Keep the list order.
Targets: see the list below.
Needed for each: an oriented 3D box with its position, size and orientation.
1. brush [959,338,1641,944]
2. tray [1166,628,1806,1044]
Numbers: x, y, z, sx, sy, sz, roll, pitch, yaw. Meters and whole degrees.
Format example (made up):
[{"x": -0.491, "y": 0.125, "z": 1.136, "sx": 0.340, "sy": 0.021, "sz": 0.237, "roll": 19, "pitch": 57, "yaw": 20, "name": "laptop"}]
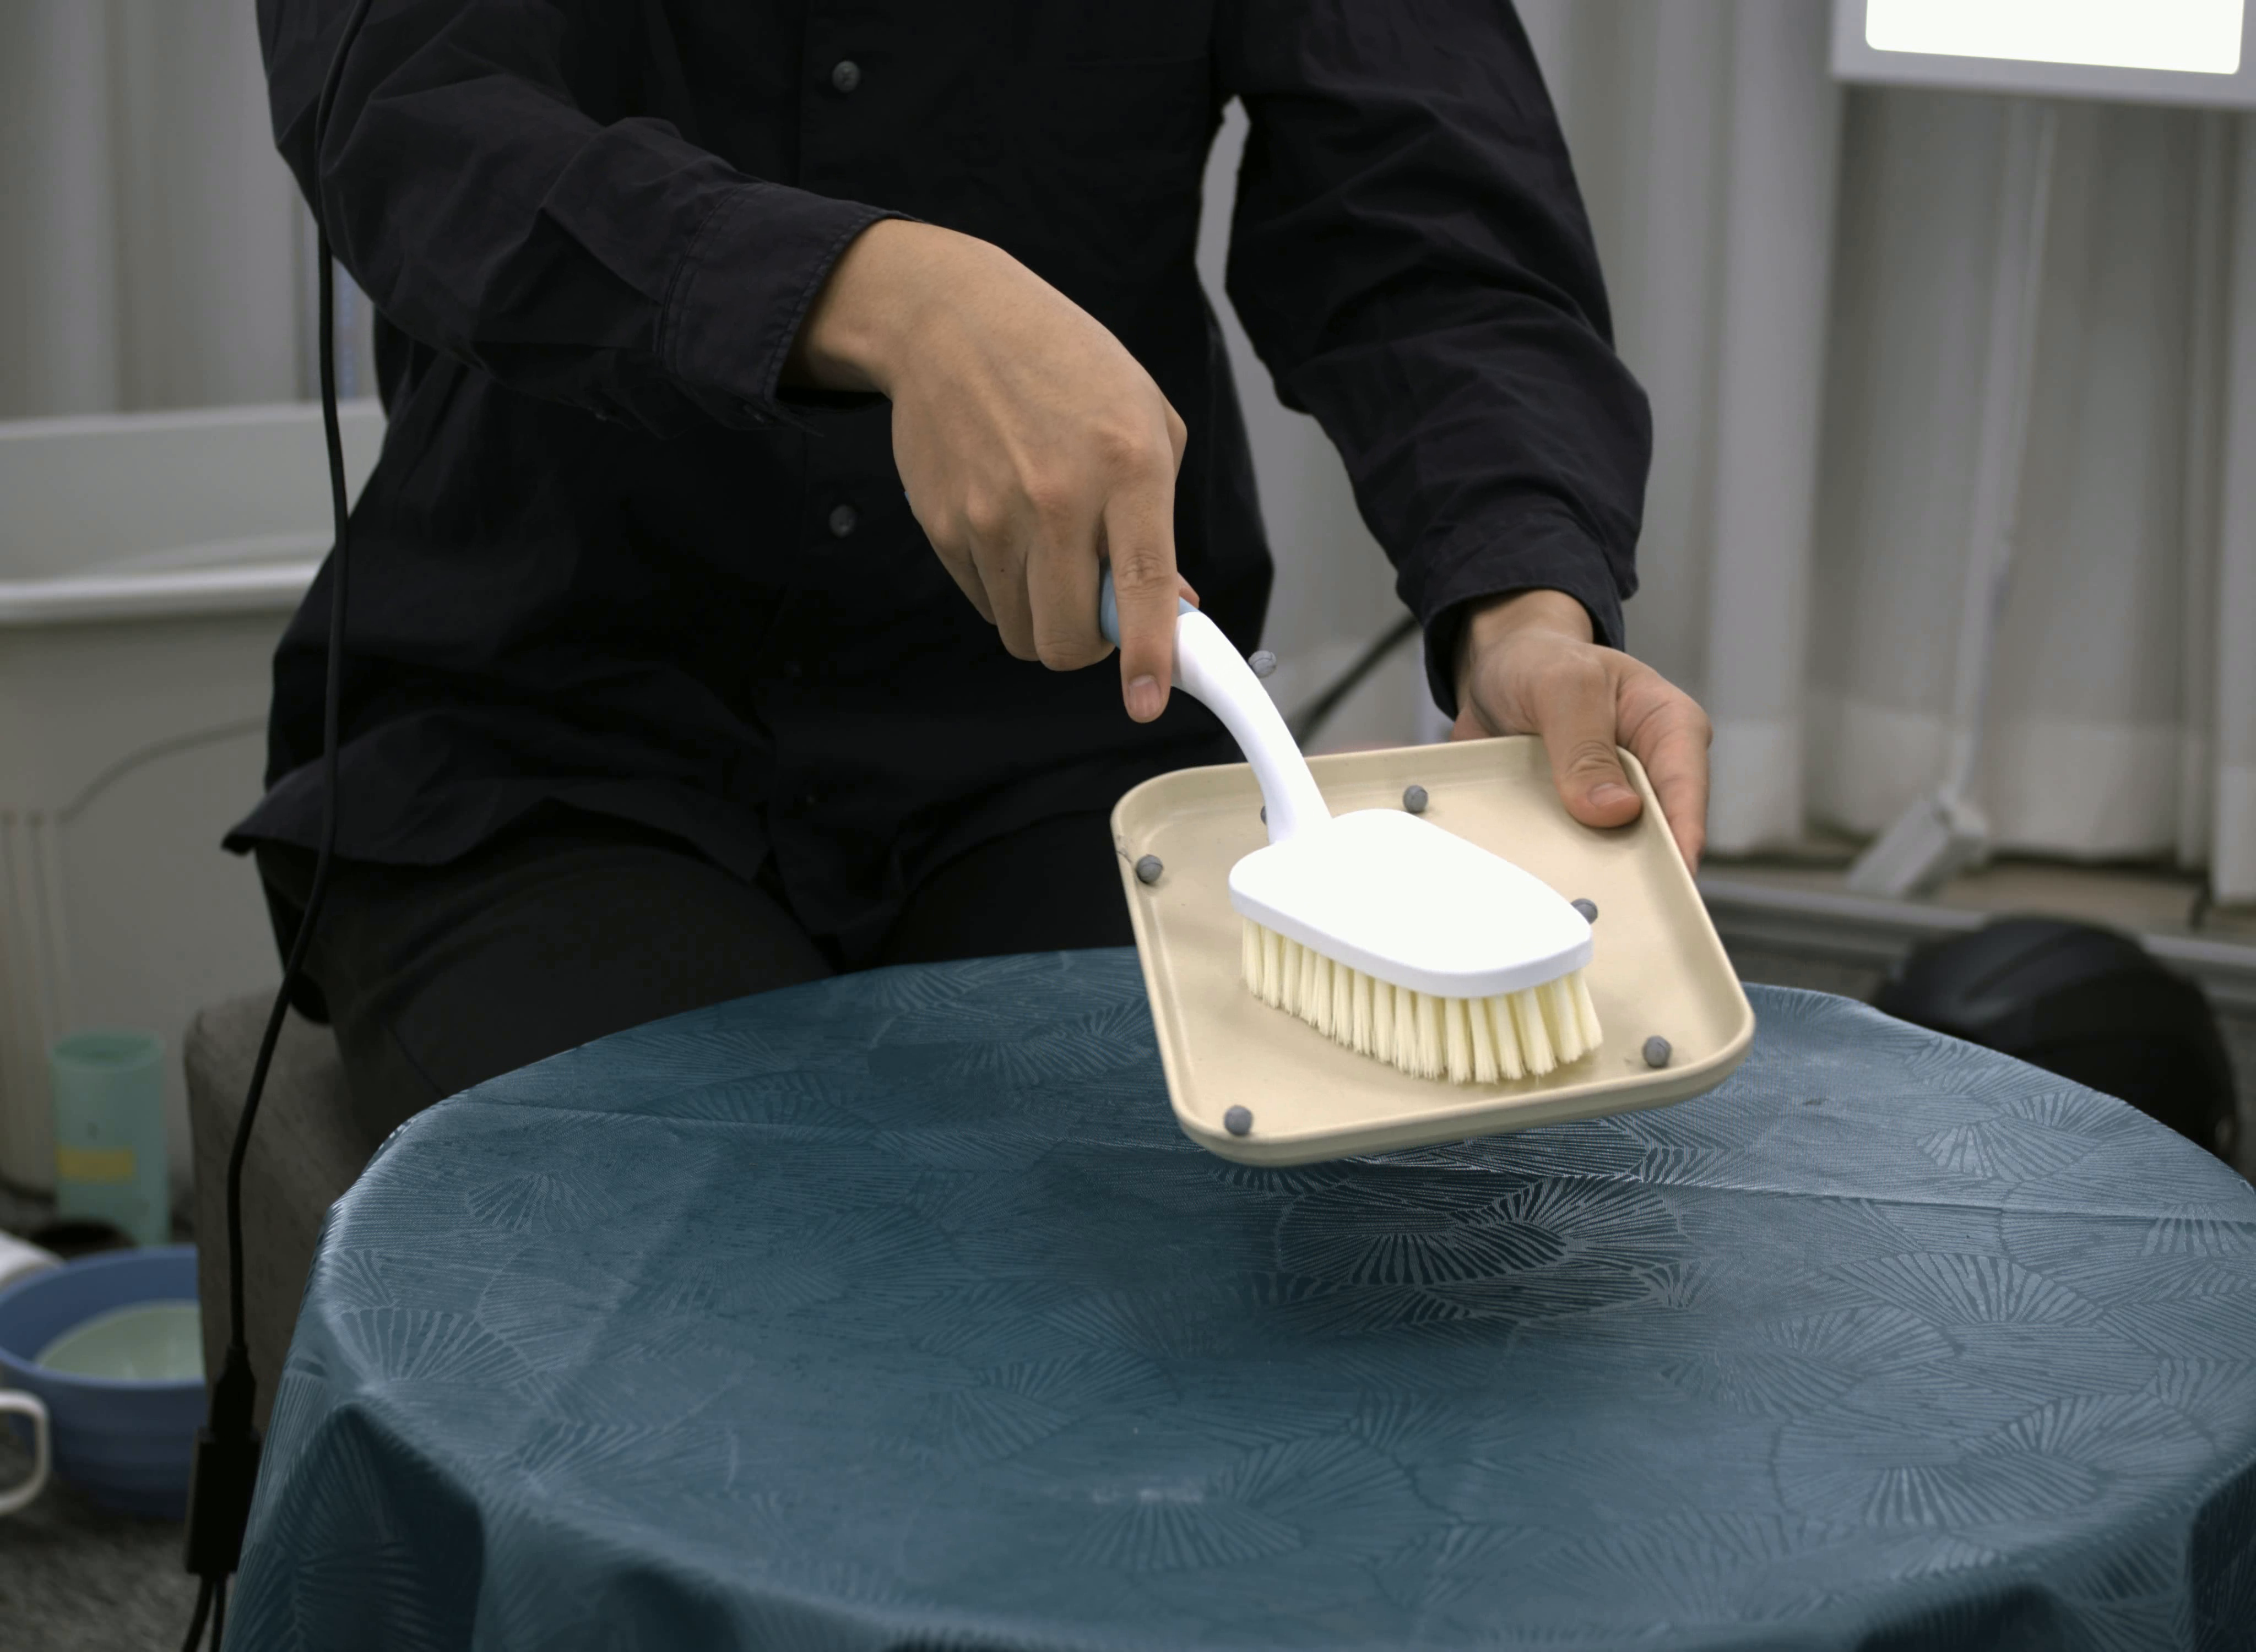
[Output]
[{"x": 0.049, "y": -0.048, "z": 1.643, "sx": 0.084, "sy": 0.085, "sz": 0.321, "roll": 21, "pitch": 14, "yaw": -49, "name": "brush"}, {"x": 0.106, "y": 0.001, "z": 1.614, "sx": 0.171, "sy": 0.018, "sz": 0.237, "roll": -7, "pitch": 26, "yaw": -3, "name": "tray"}]
